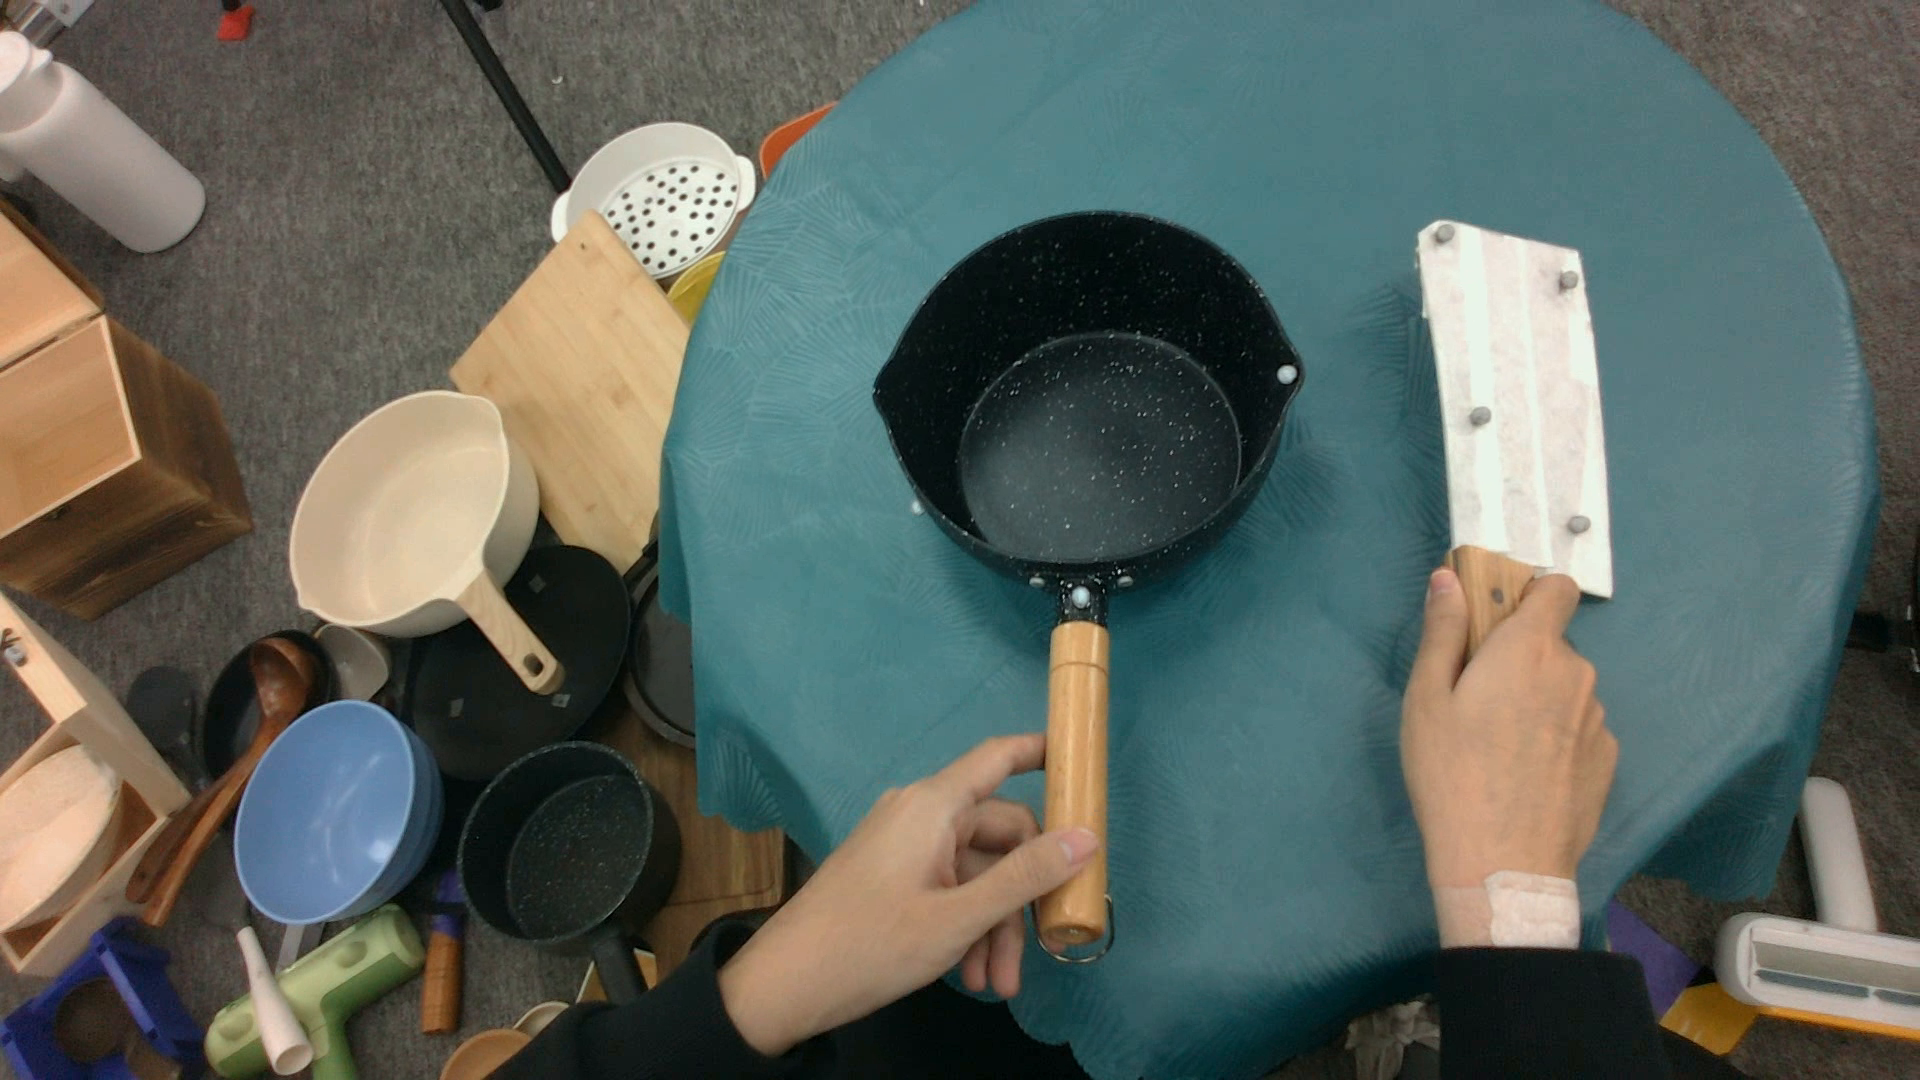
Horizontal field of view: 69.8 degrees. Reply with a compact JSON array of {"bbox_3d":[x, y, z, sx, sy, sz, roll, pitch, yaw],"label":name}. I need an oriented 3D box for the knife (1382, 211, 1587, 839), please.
[{"bbox_3d":[0.240,-0.021,0.629,0.114,0.021,0.316,15,65,-17],"label":"knife"}]

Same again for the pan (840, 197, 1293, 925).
[{"bbox_3d":[0.051,0.004,0.626,0.207,0.108,0.344,-4,66,8],"label":"pan"}]
